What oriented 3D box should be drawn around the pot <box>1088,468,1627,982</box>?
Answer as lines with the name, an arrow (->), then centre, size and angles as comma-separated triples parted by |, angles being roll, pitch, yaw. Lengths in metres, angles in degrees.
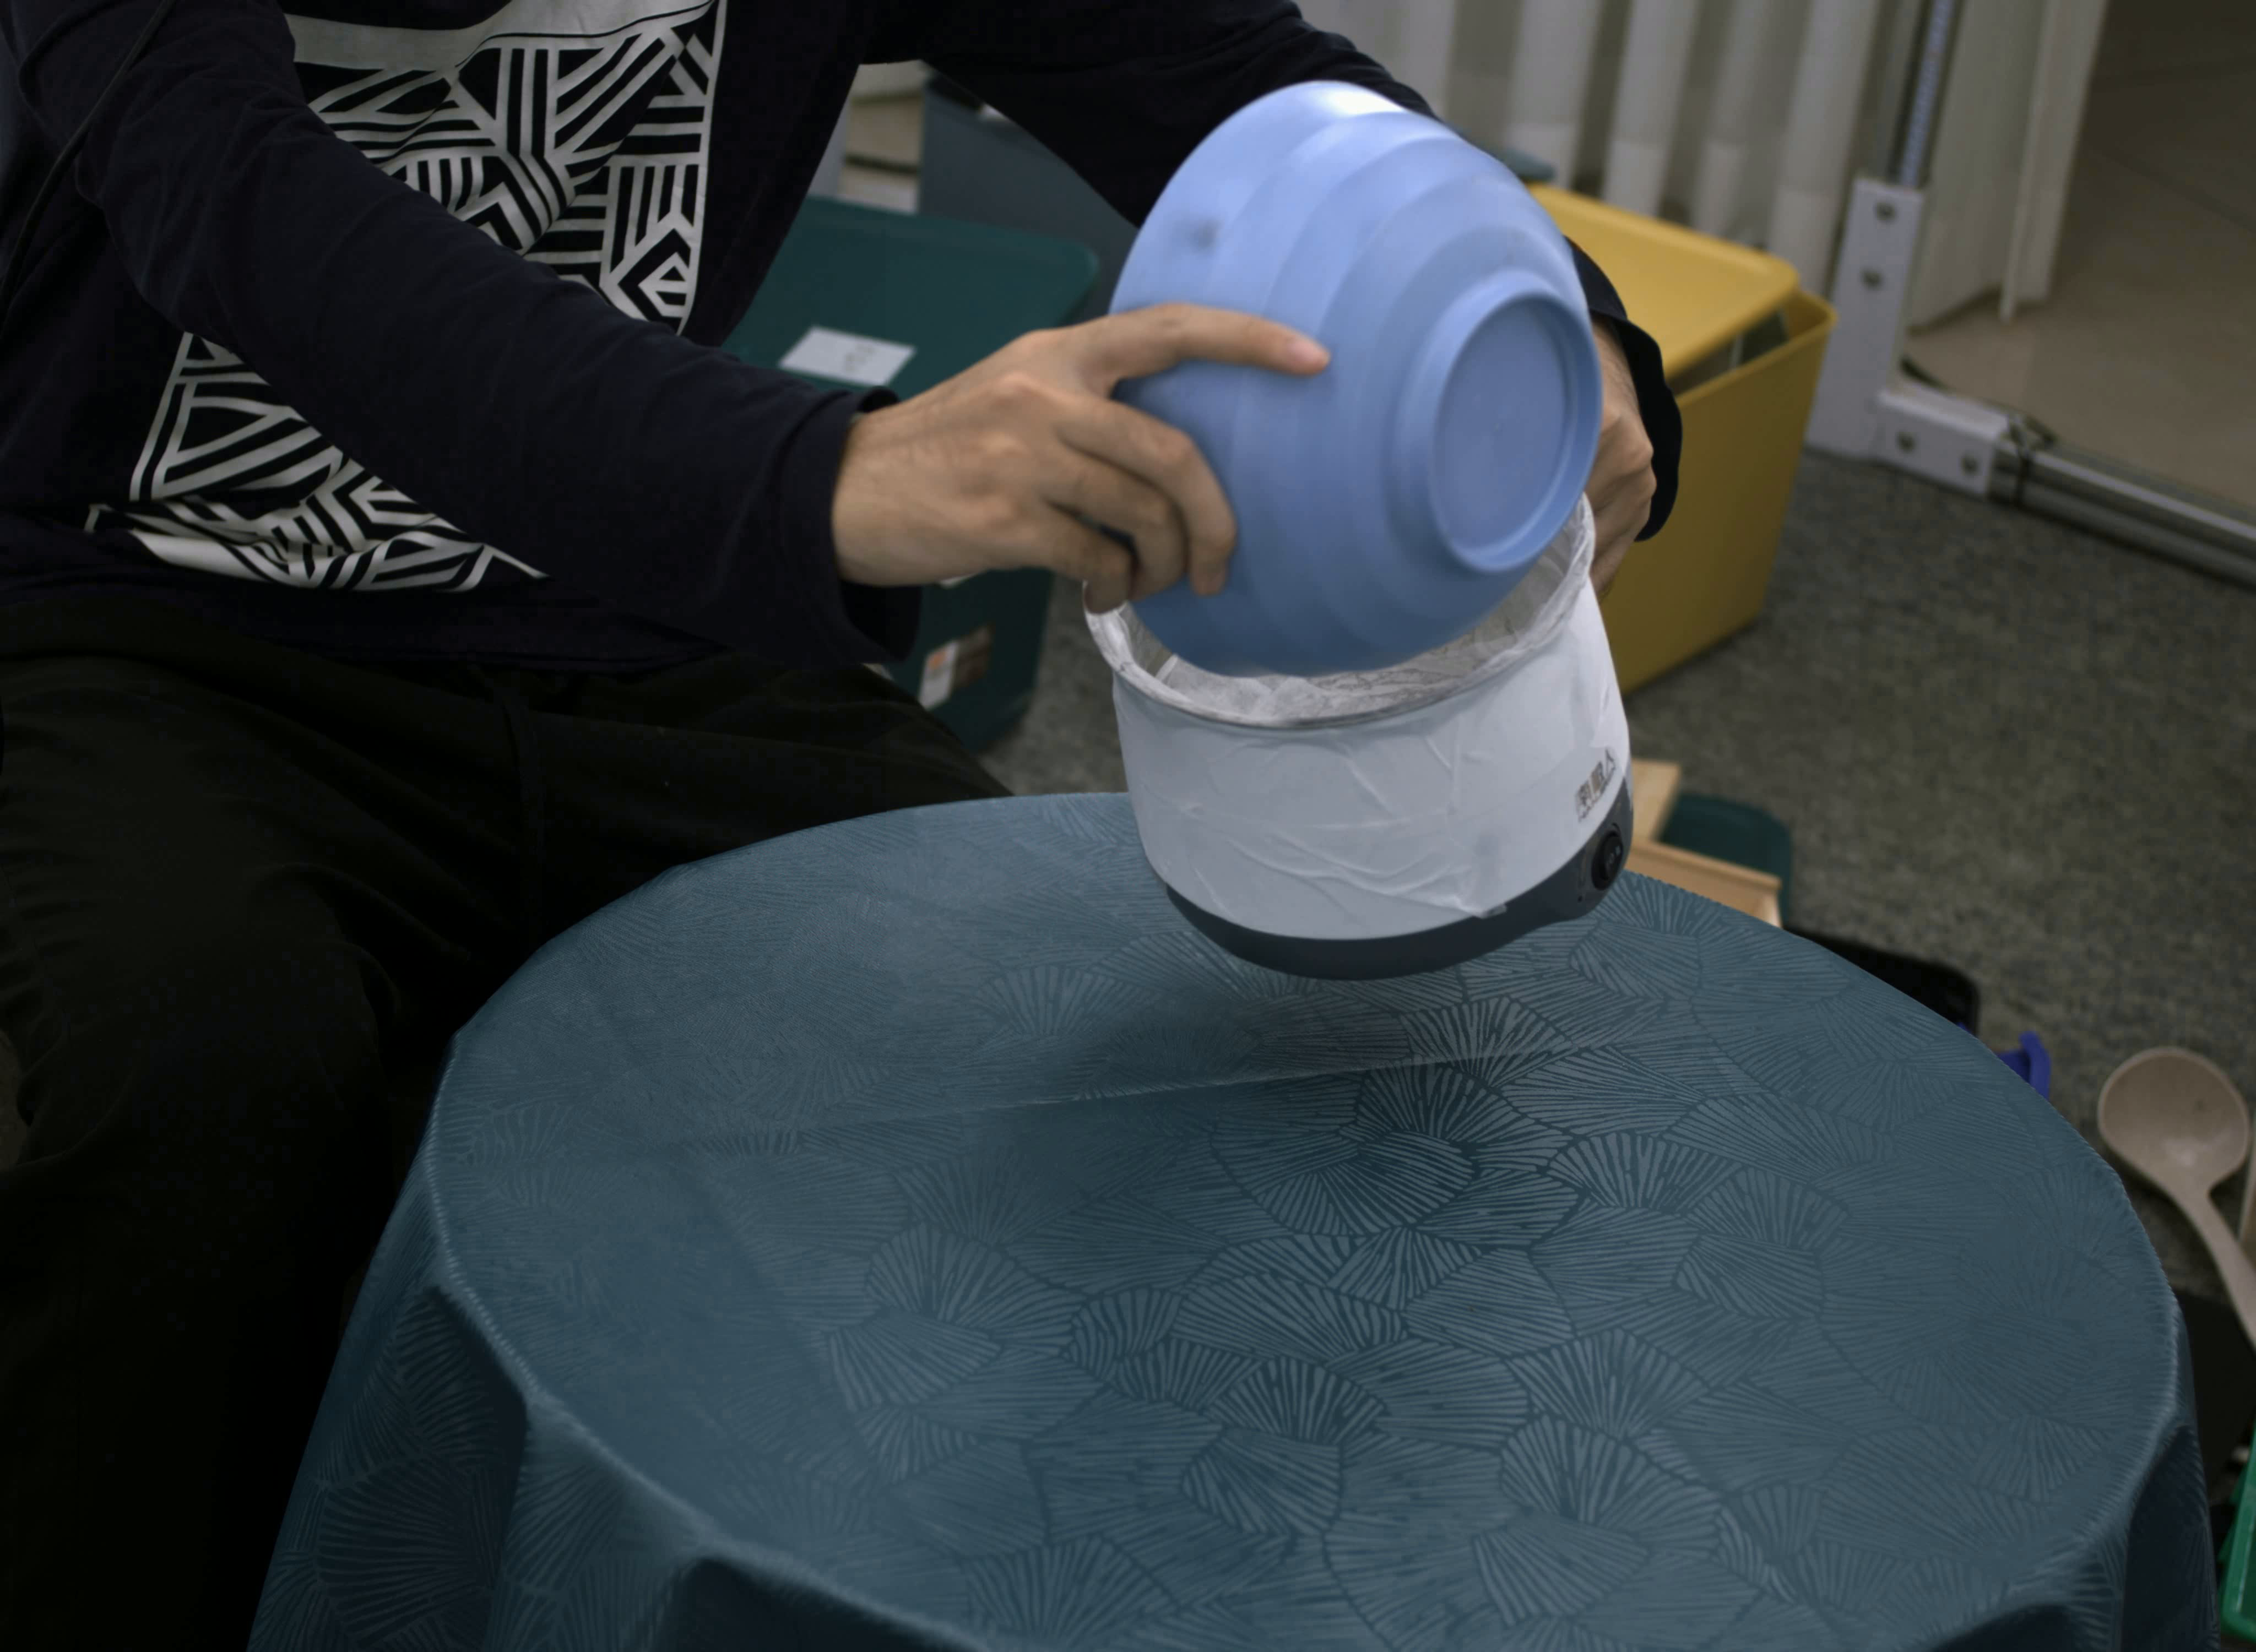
pot -> 0.094, -0.062, 1.872 | 0.179, 0.135, 0.234 | 13, 47, 25

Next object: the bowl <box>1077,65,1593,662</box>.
bowl -> 0.083, -0.136, 1.698 | 0.096, 0.196, 0.195 | 23, 30, 38
